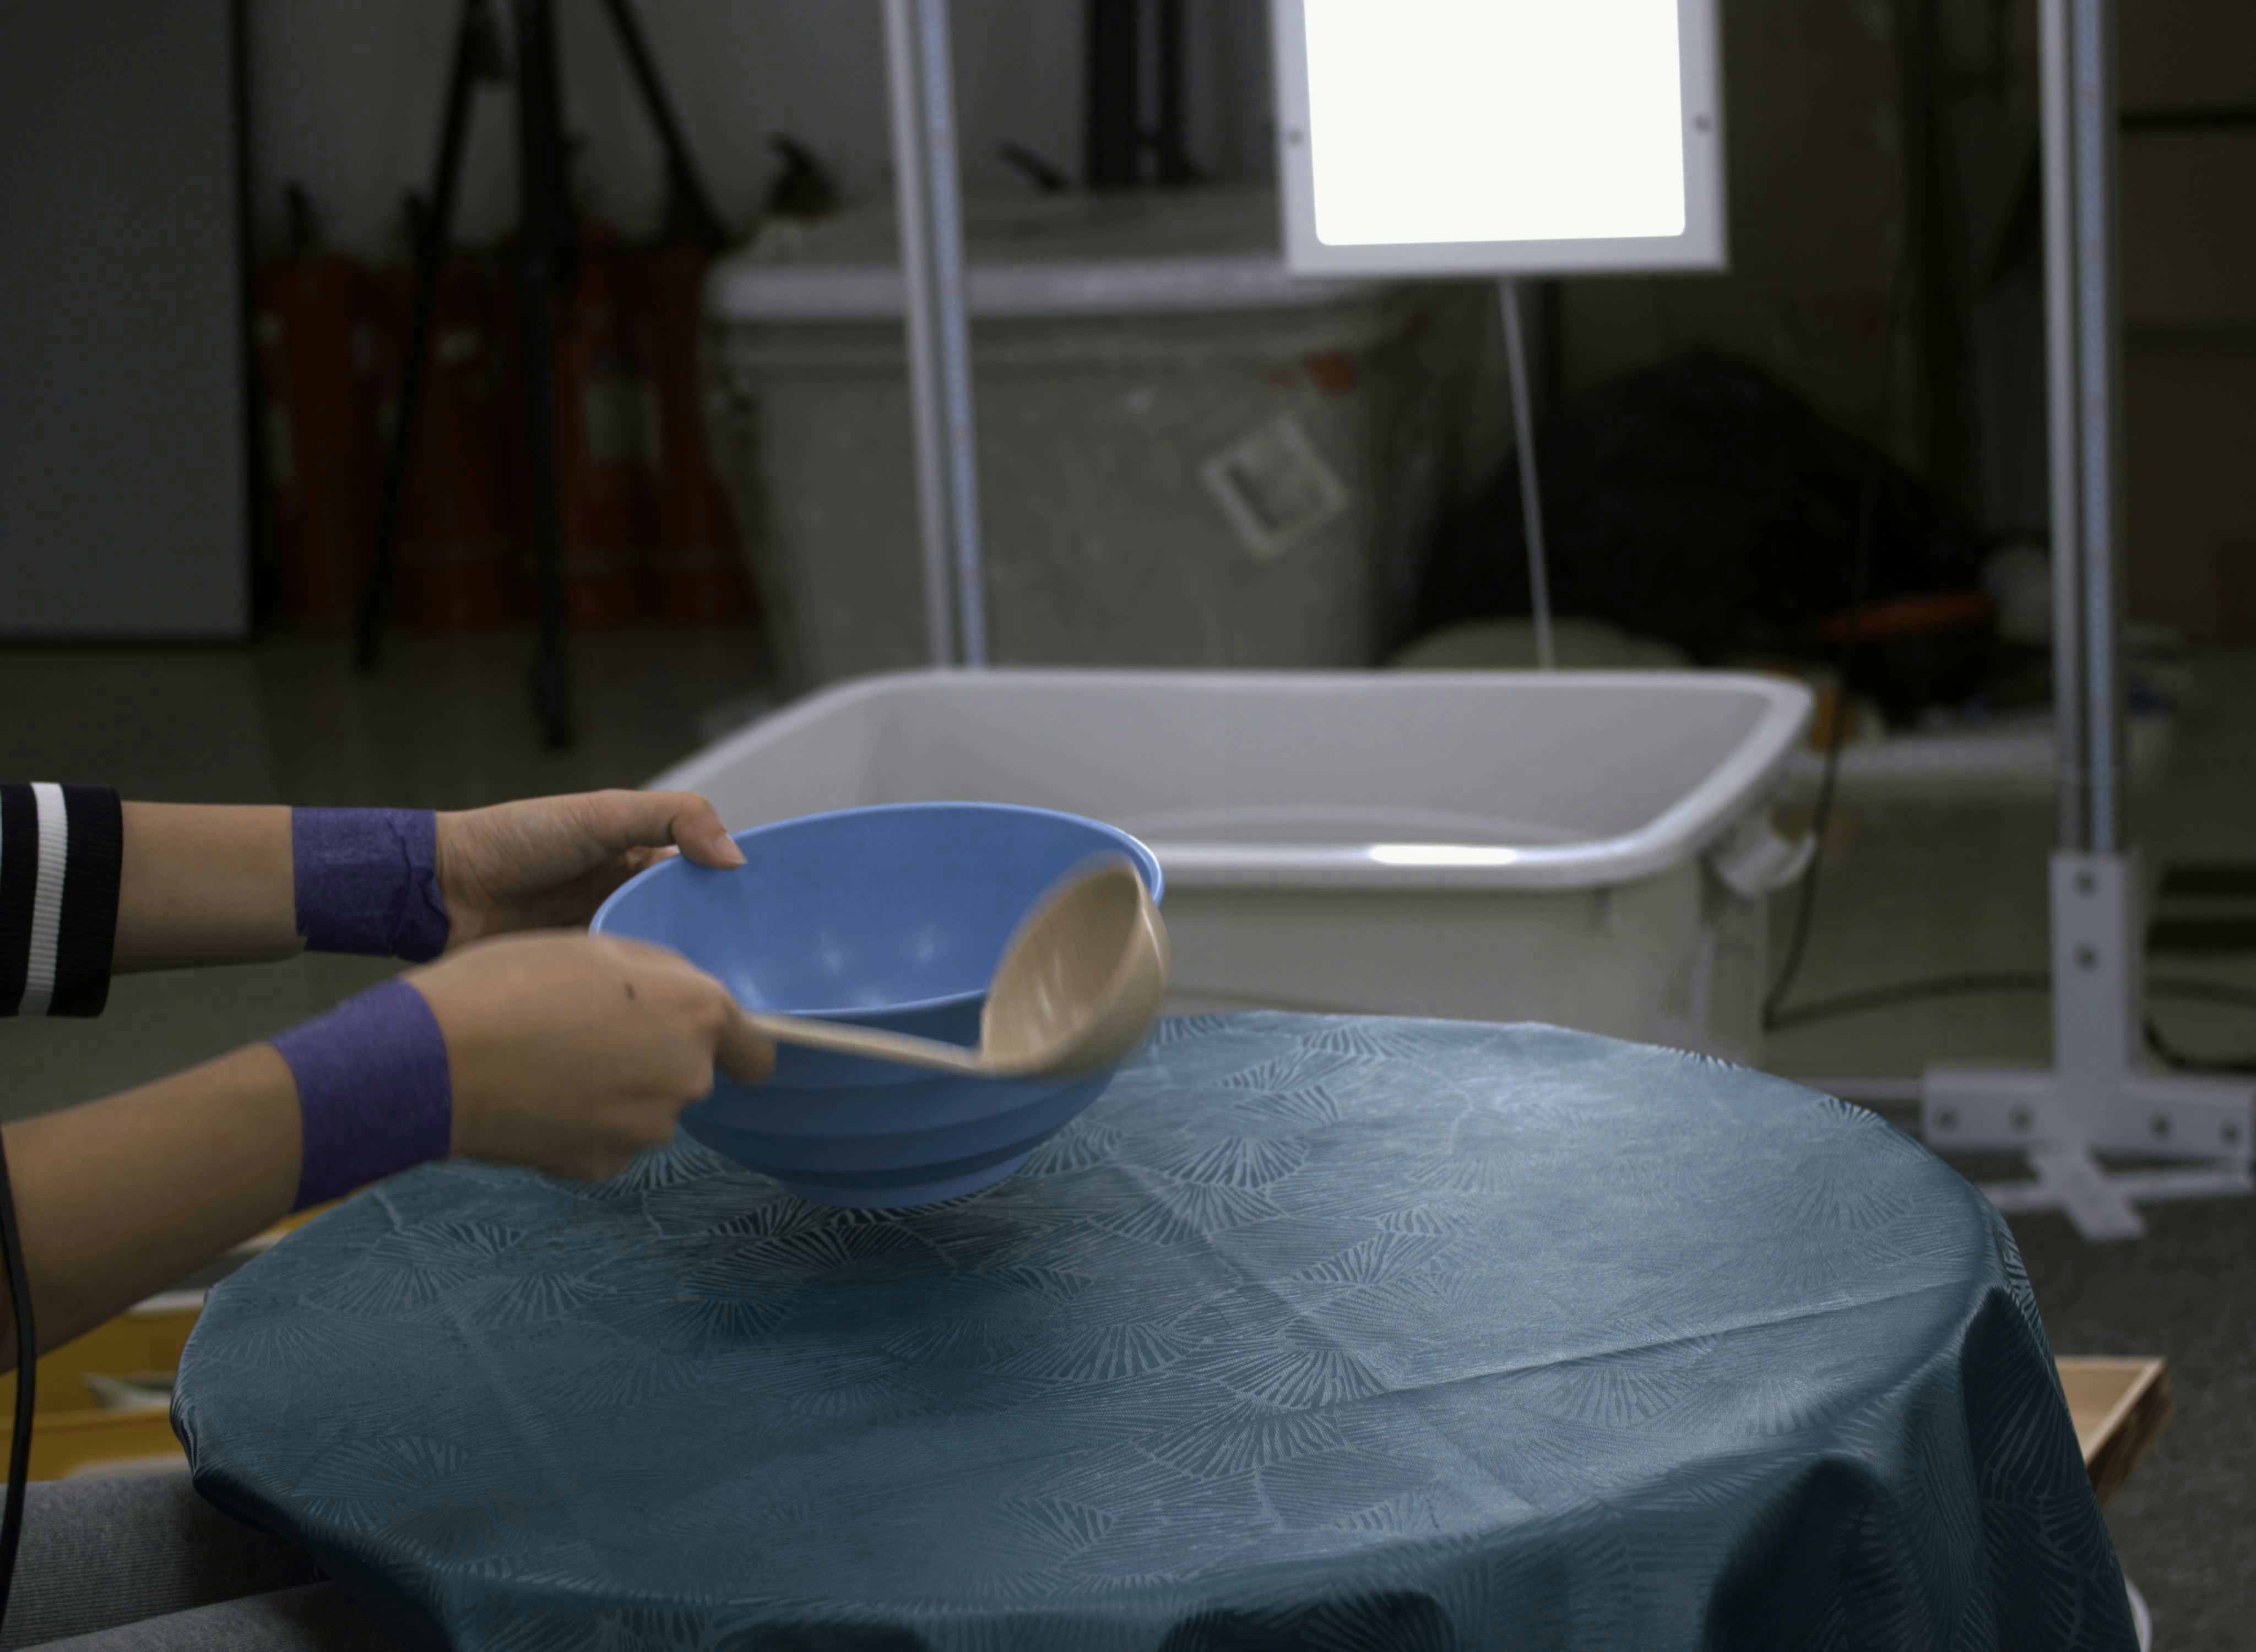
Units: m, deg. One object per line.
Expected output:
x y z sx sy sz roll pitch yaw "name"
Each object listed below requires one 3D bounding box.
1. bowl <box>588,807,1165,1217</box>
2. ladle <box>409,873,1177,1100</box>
-0.082 0.071 1.877 0.196 0.096 0.196 -5 20 1 "bowl"
-0.099 0.040 1.660 0.248 0.073 0.073 6 -1 -32 "ladle"
